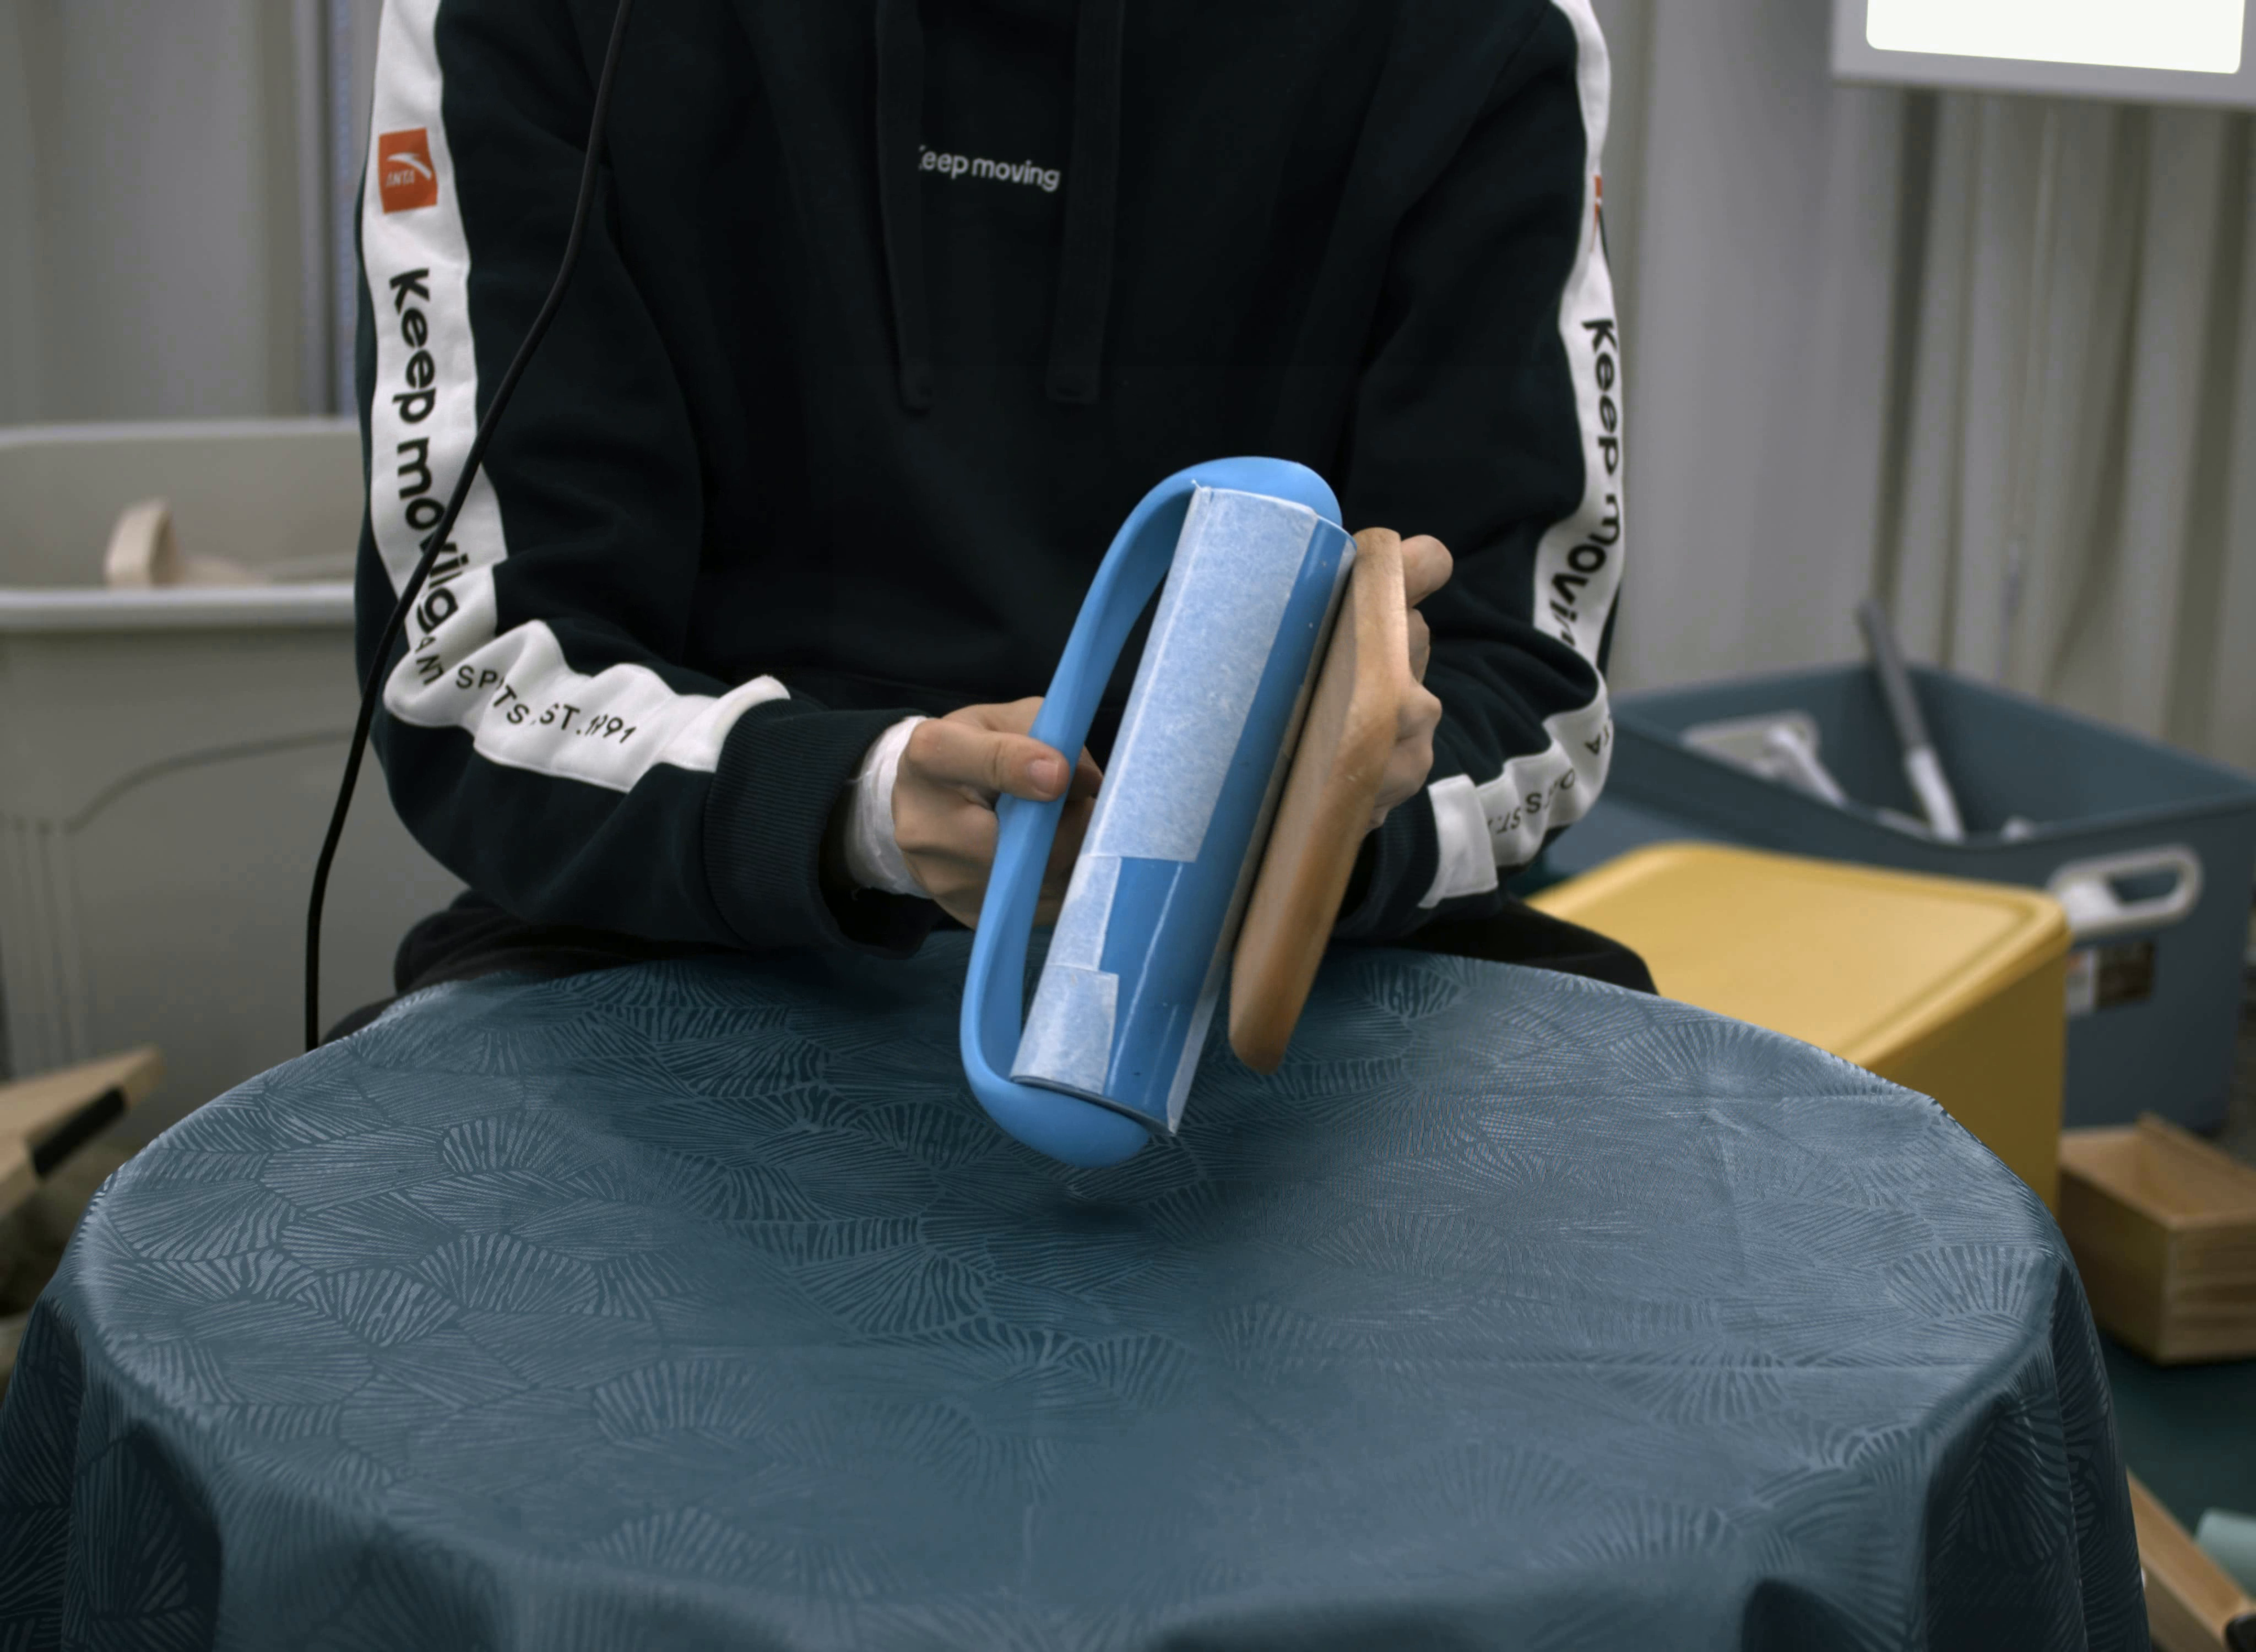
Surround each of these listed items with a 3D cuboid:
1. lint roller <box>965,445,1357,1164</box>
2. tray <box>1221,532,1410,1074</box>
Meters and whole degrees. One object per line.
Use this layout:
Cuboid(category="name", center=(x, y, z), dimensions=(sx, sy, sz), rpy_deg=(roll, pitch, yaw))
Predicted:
Cuboid(category="lint roller", center=(-0.008, -0.002, 1.651), dimensions=(0.068, 0.229, 0.179), rpy_deg=(20, -13, -22))
Cuboid(category="tray", center=(0.056, -0.013, 1.584), dimensions=(0.023, 0.131, 0.249), rpy_deg=(21, 12, -3))
